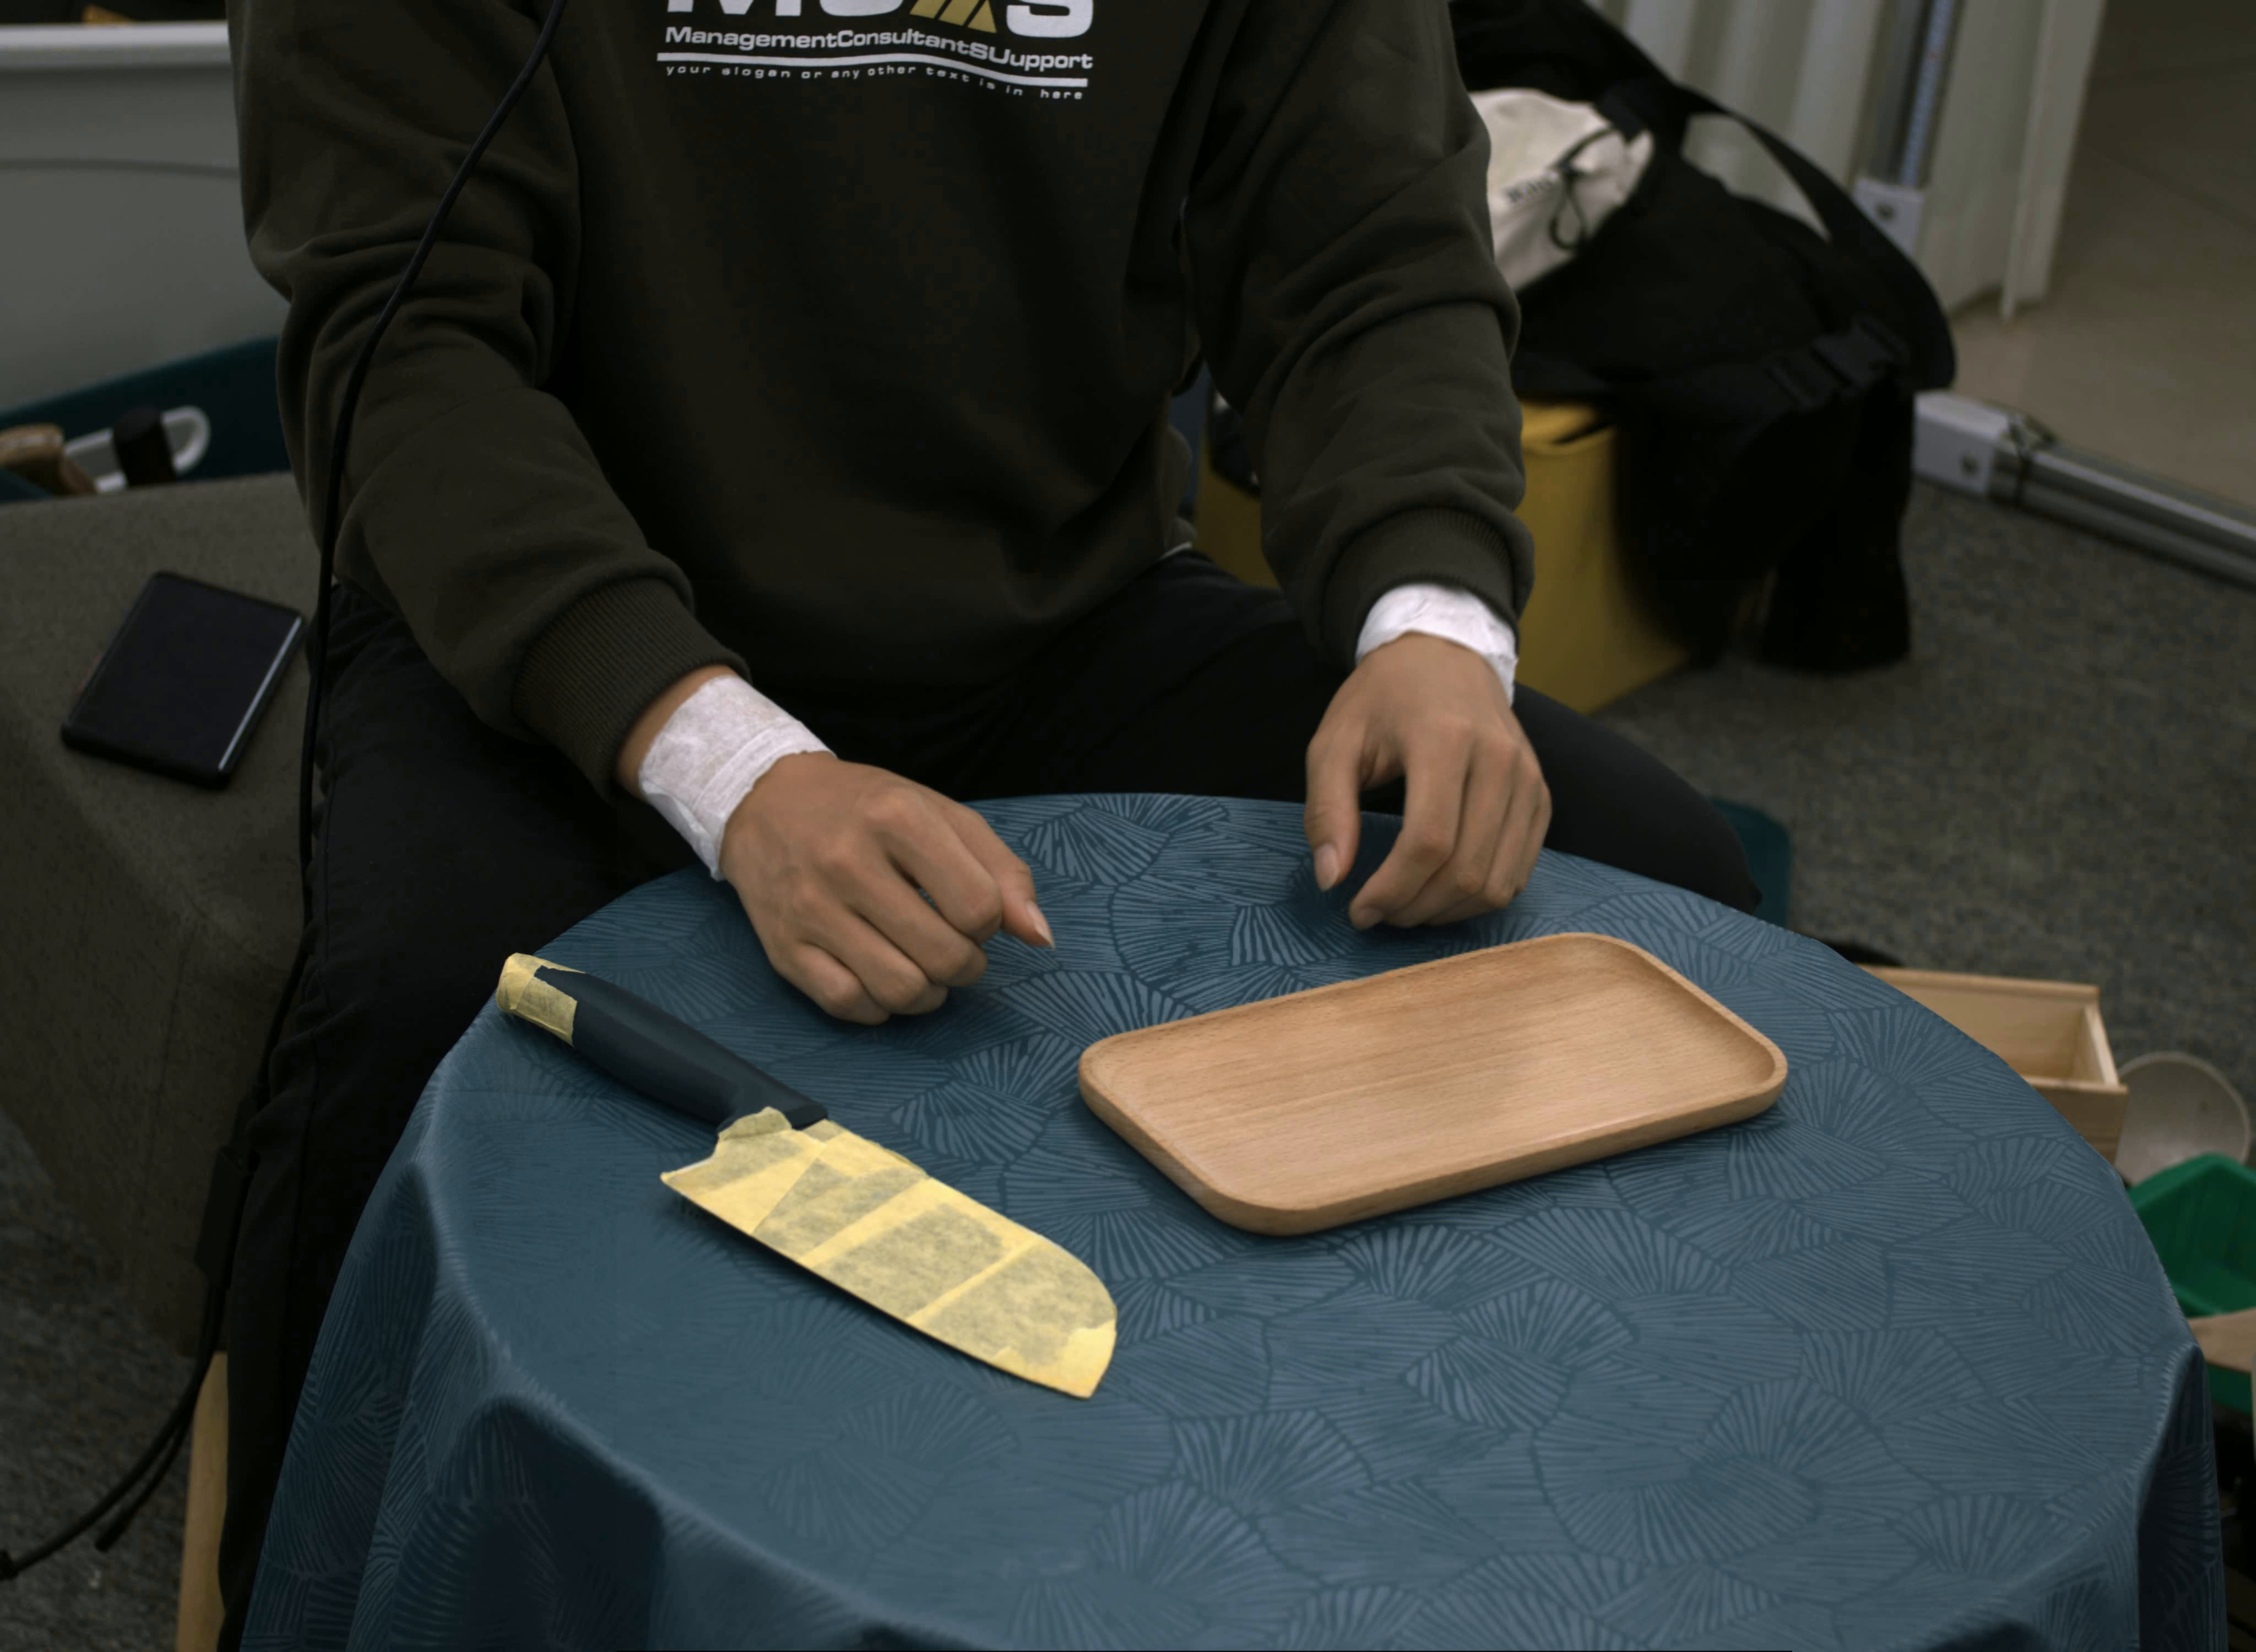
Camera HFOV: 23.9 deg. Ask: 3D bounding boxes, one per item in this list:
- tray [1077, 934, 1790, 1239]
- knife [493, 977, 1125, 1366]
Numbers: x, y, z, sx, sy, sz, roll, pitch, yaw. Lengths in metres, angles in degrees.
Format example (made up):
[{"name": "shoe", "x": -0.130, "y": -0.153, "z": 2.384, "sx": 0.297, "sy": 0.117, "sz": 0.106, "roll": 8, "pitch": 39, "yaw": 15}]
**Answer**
[{"name": "tray", "x": 0.109, "y": 0.091, "z": 1.878, "sx": 0.249, "sy": 0.023, "sz": 0.132, "roll": -12, "pitch": 29, "yaw": -31}, {"name": "knife", "x": -0.115, "y": 0.117, "z": 1.777, "sx": 0.291, "sy": 0.027, "sz": 0.080, "roll": 26, "pitch": 31, "yaw": 32}]
